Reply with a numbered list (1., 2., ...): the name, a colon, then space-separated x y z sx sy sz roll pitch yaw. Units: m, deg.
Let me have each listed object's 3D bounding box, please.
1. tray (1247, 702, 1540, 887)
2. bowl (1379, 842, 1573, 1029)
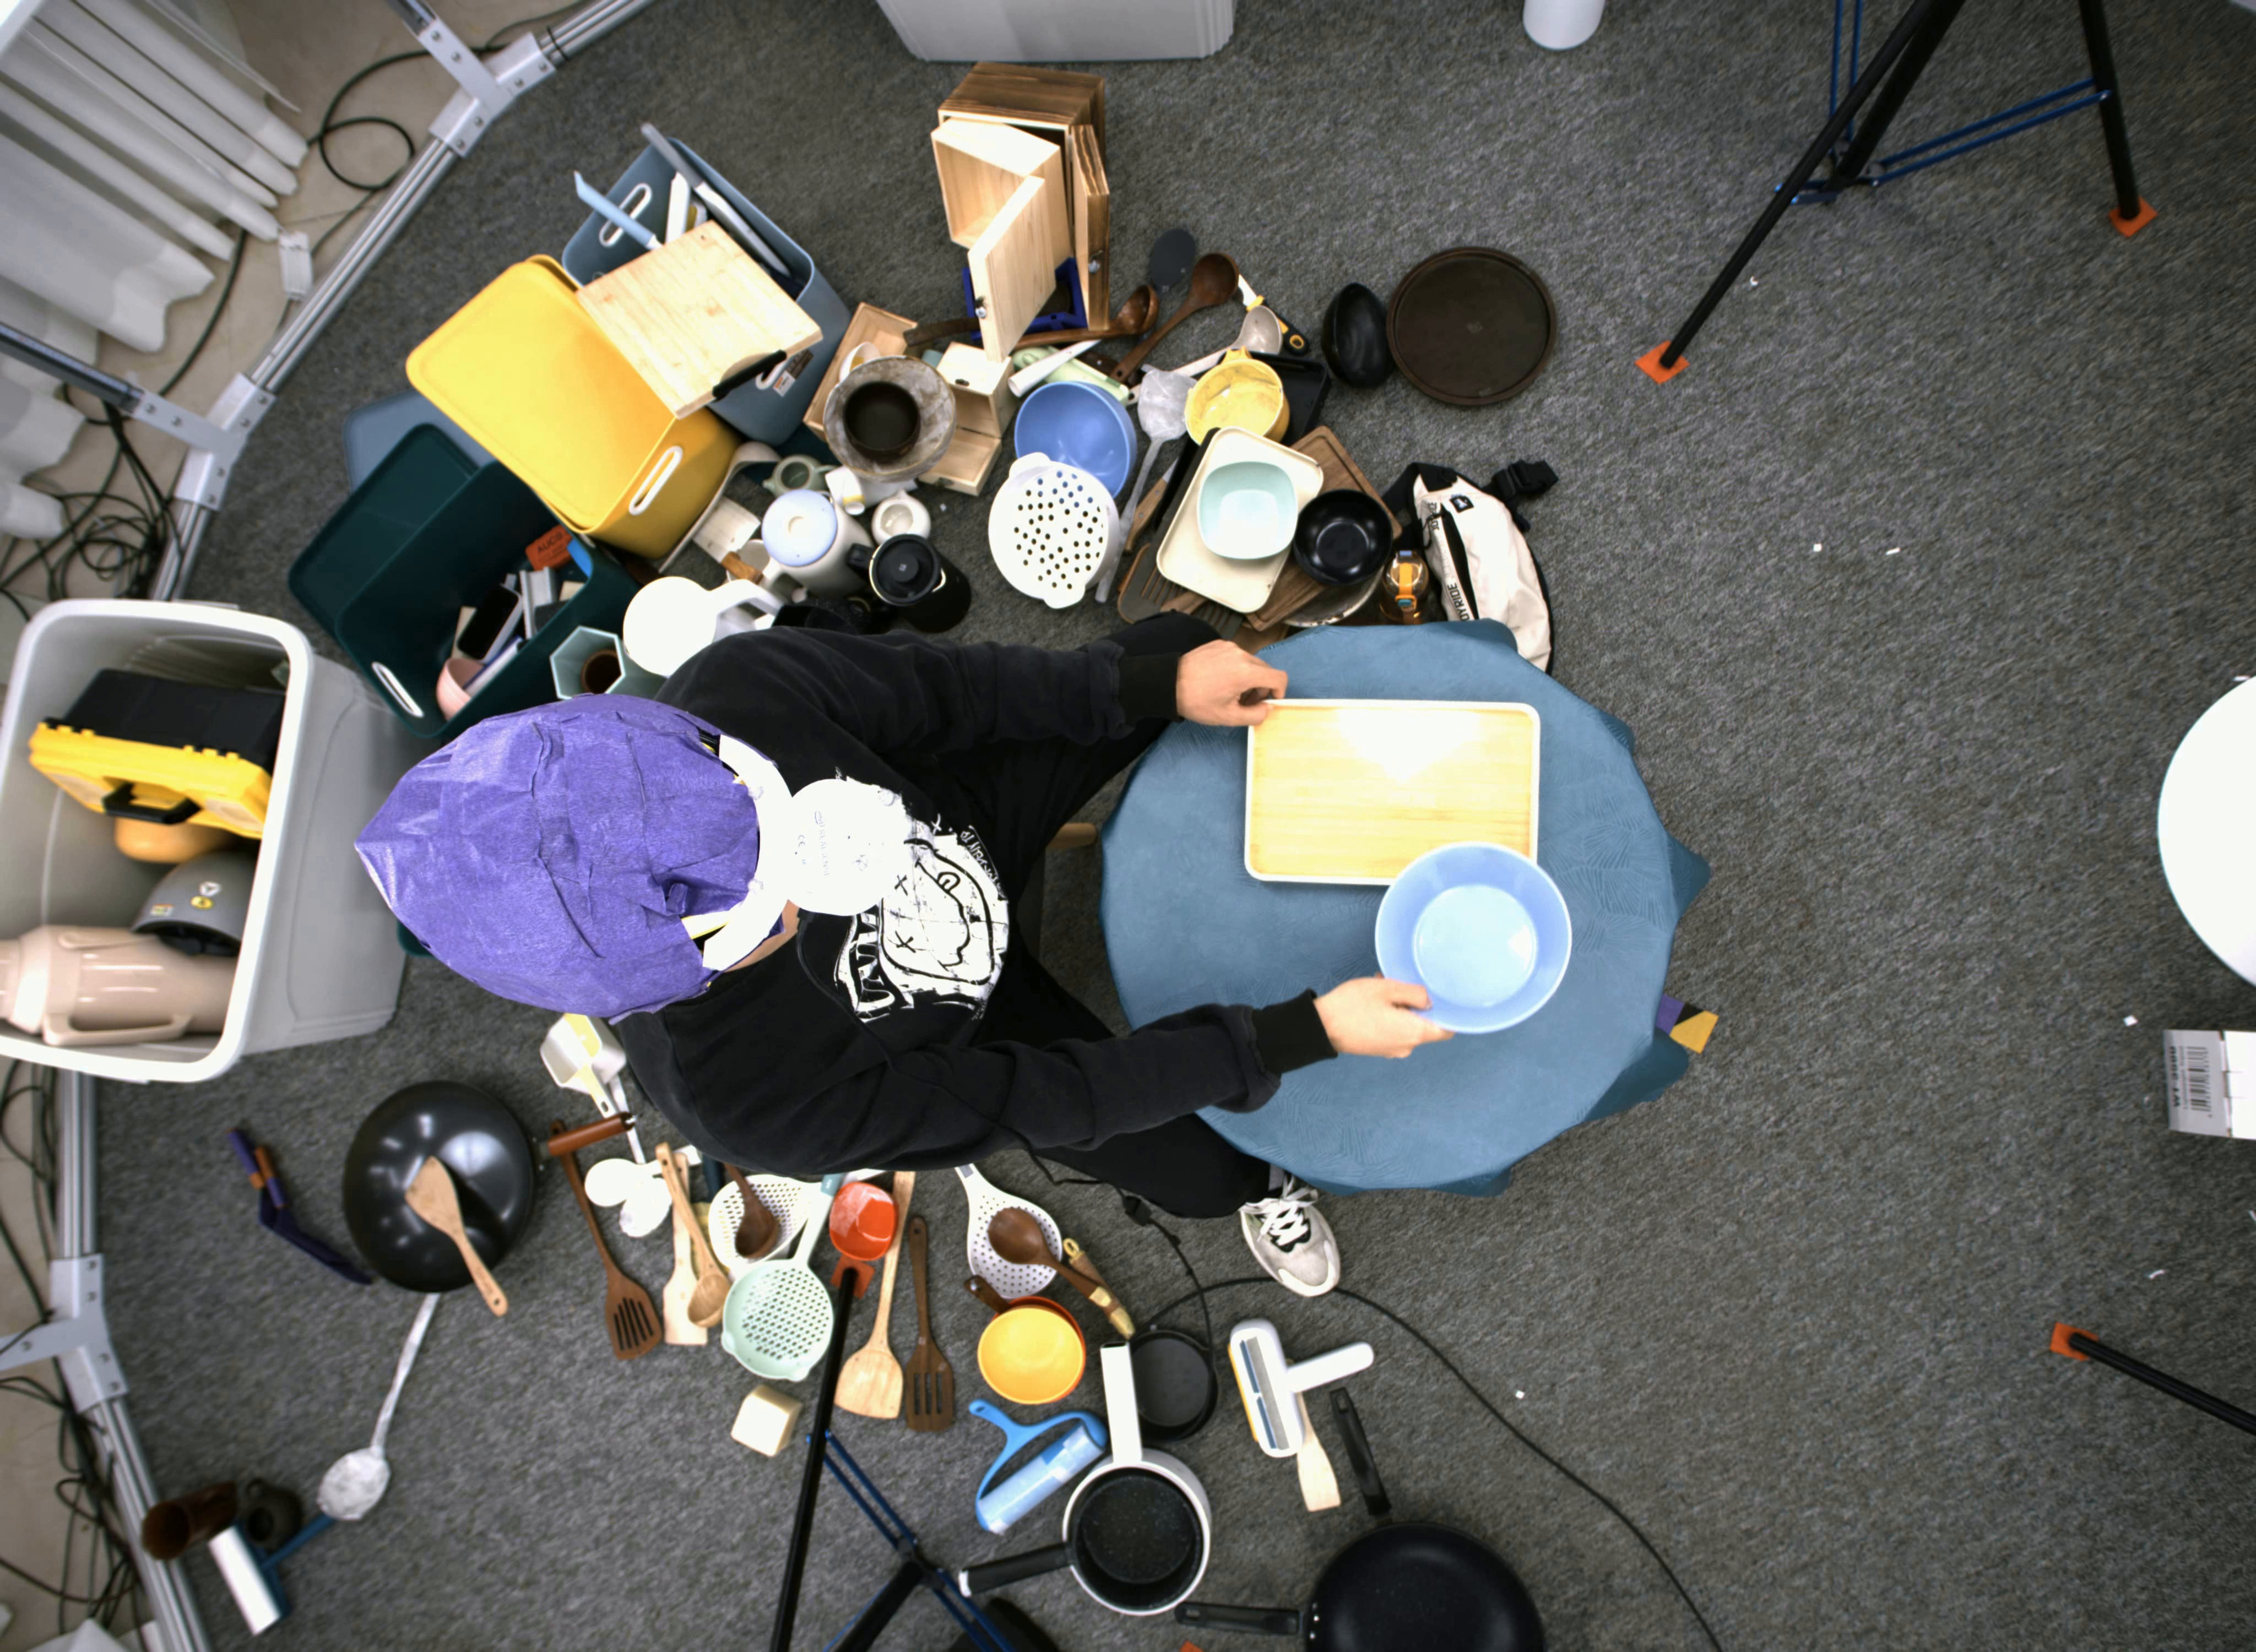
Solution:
1. tray: 0.276 -0.033 1.443 0.301 0.027 0.191 1 91 7
2. bowl: 0.327 0.105 1.294 0.177 0.071 0.174 -4 76 16
